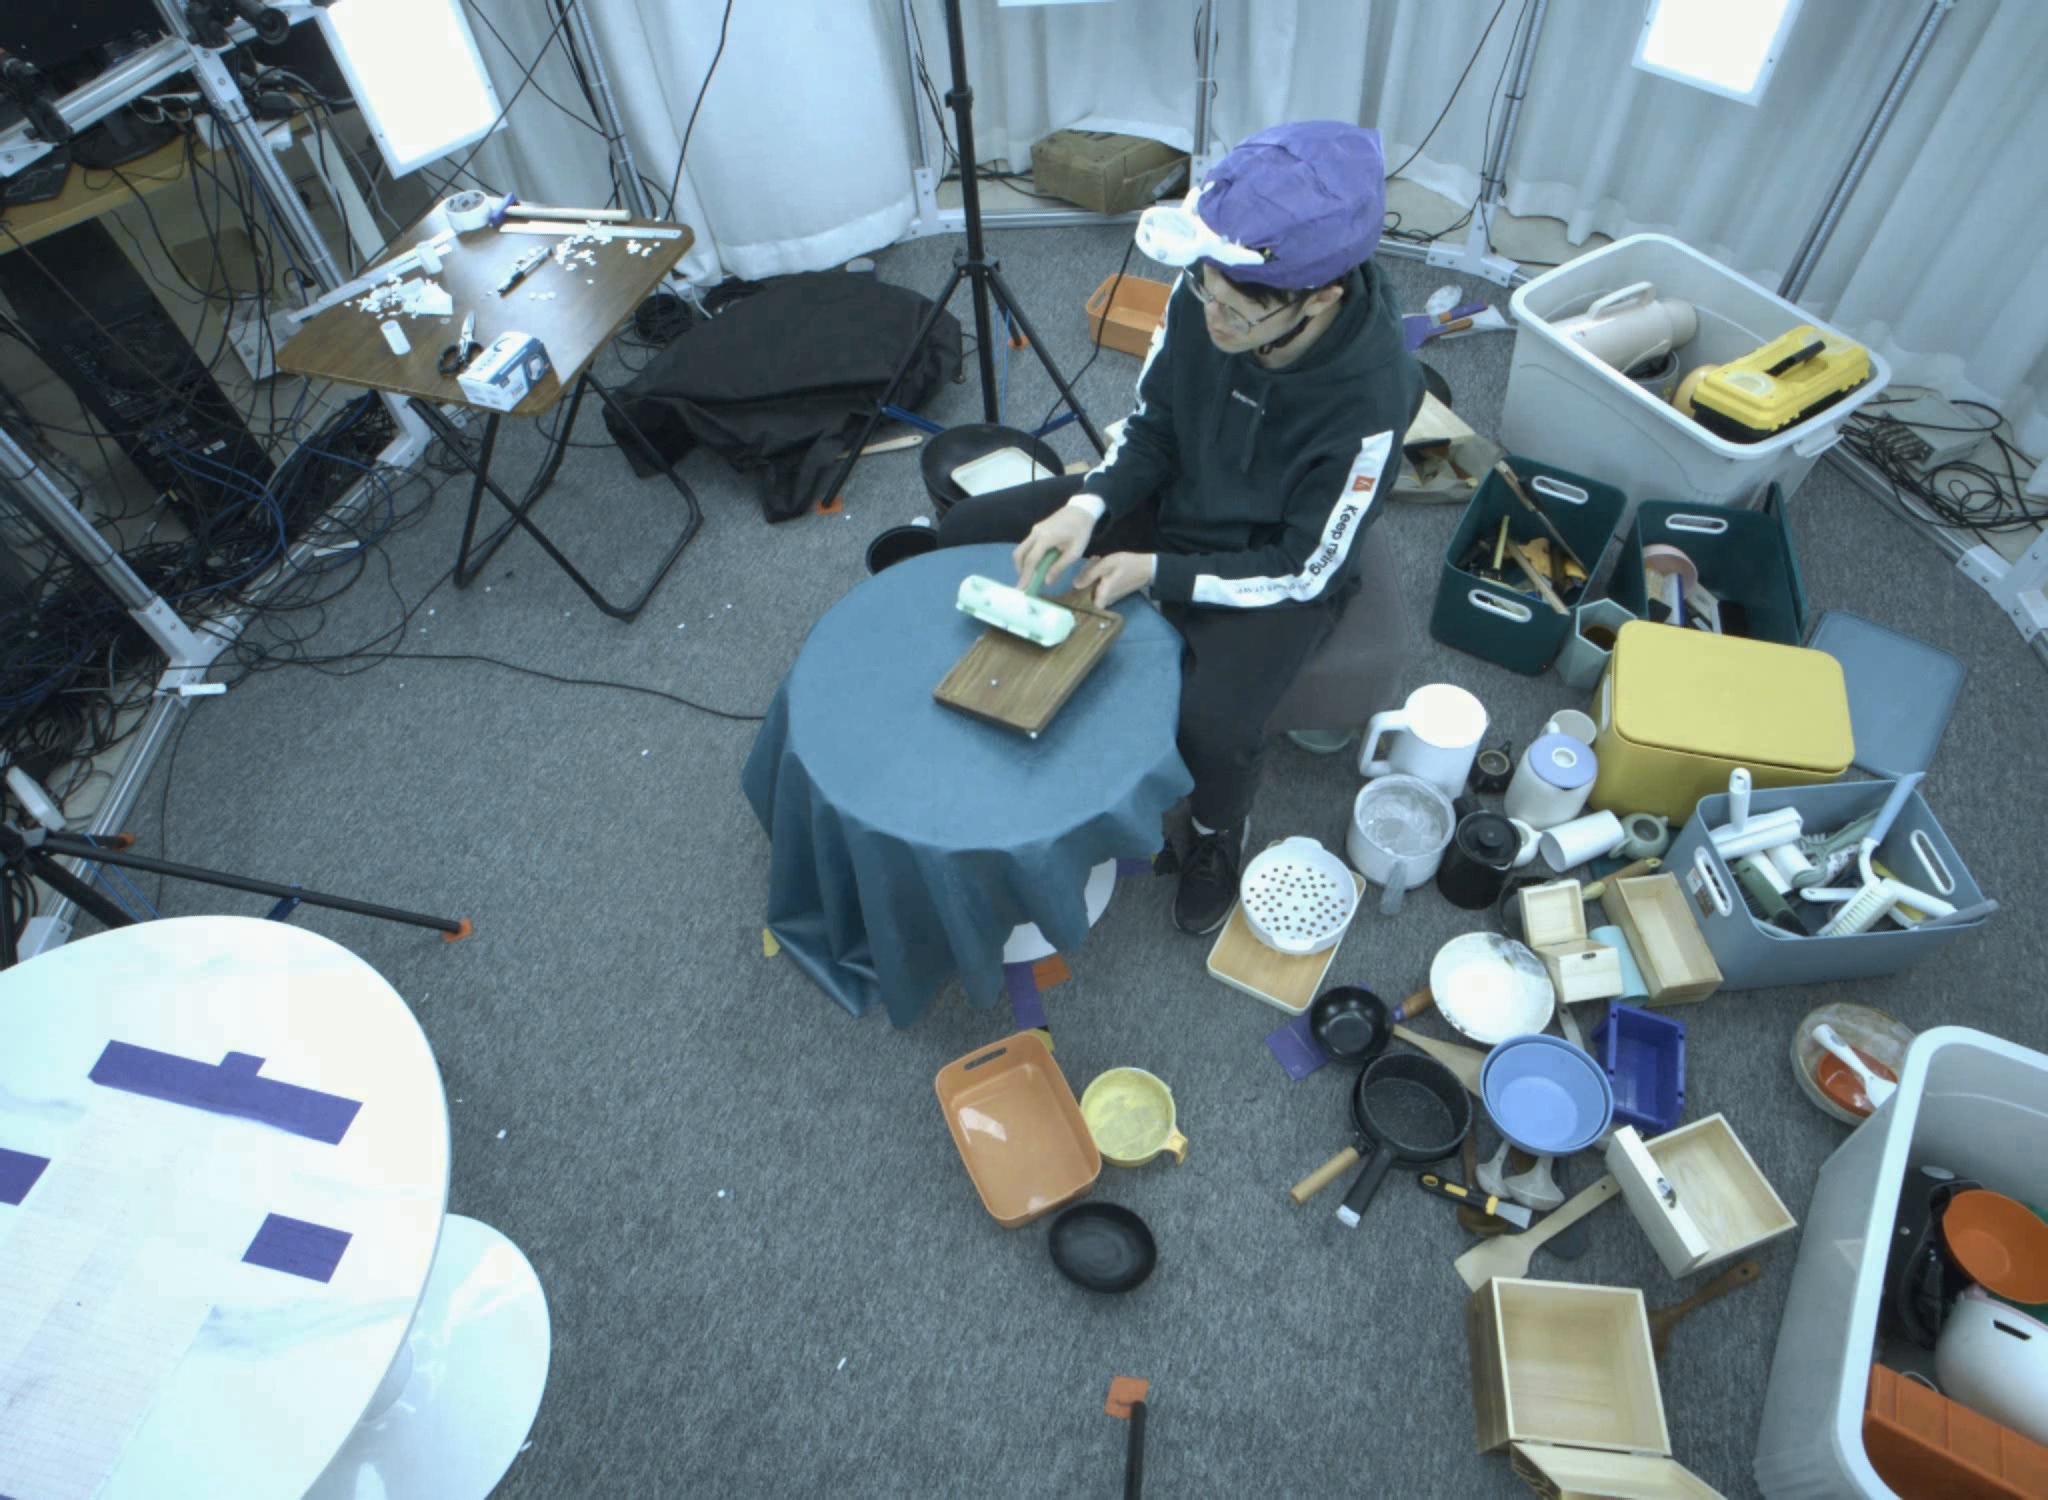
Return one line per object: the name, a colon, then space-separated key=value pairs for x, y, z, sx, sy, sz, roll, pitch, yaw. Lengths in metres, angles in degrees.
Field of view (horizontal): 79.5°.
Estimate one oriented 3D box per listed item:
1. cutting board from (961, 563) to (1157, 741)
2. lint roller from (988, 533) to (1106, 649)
cutting board: x=0.081 y=-0.165 z=1.854 sx=0.197 sy=0.023 sz=0.353 roll=22 pitch=59 yaw=32
lint roller: x=0.056 y=-0.261 z=1.856 sx=0.194 sy=0.084 sz=0.183 roll=28 pitch=89 yaw=33
